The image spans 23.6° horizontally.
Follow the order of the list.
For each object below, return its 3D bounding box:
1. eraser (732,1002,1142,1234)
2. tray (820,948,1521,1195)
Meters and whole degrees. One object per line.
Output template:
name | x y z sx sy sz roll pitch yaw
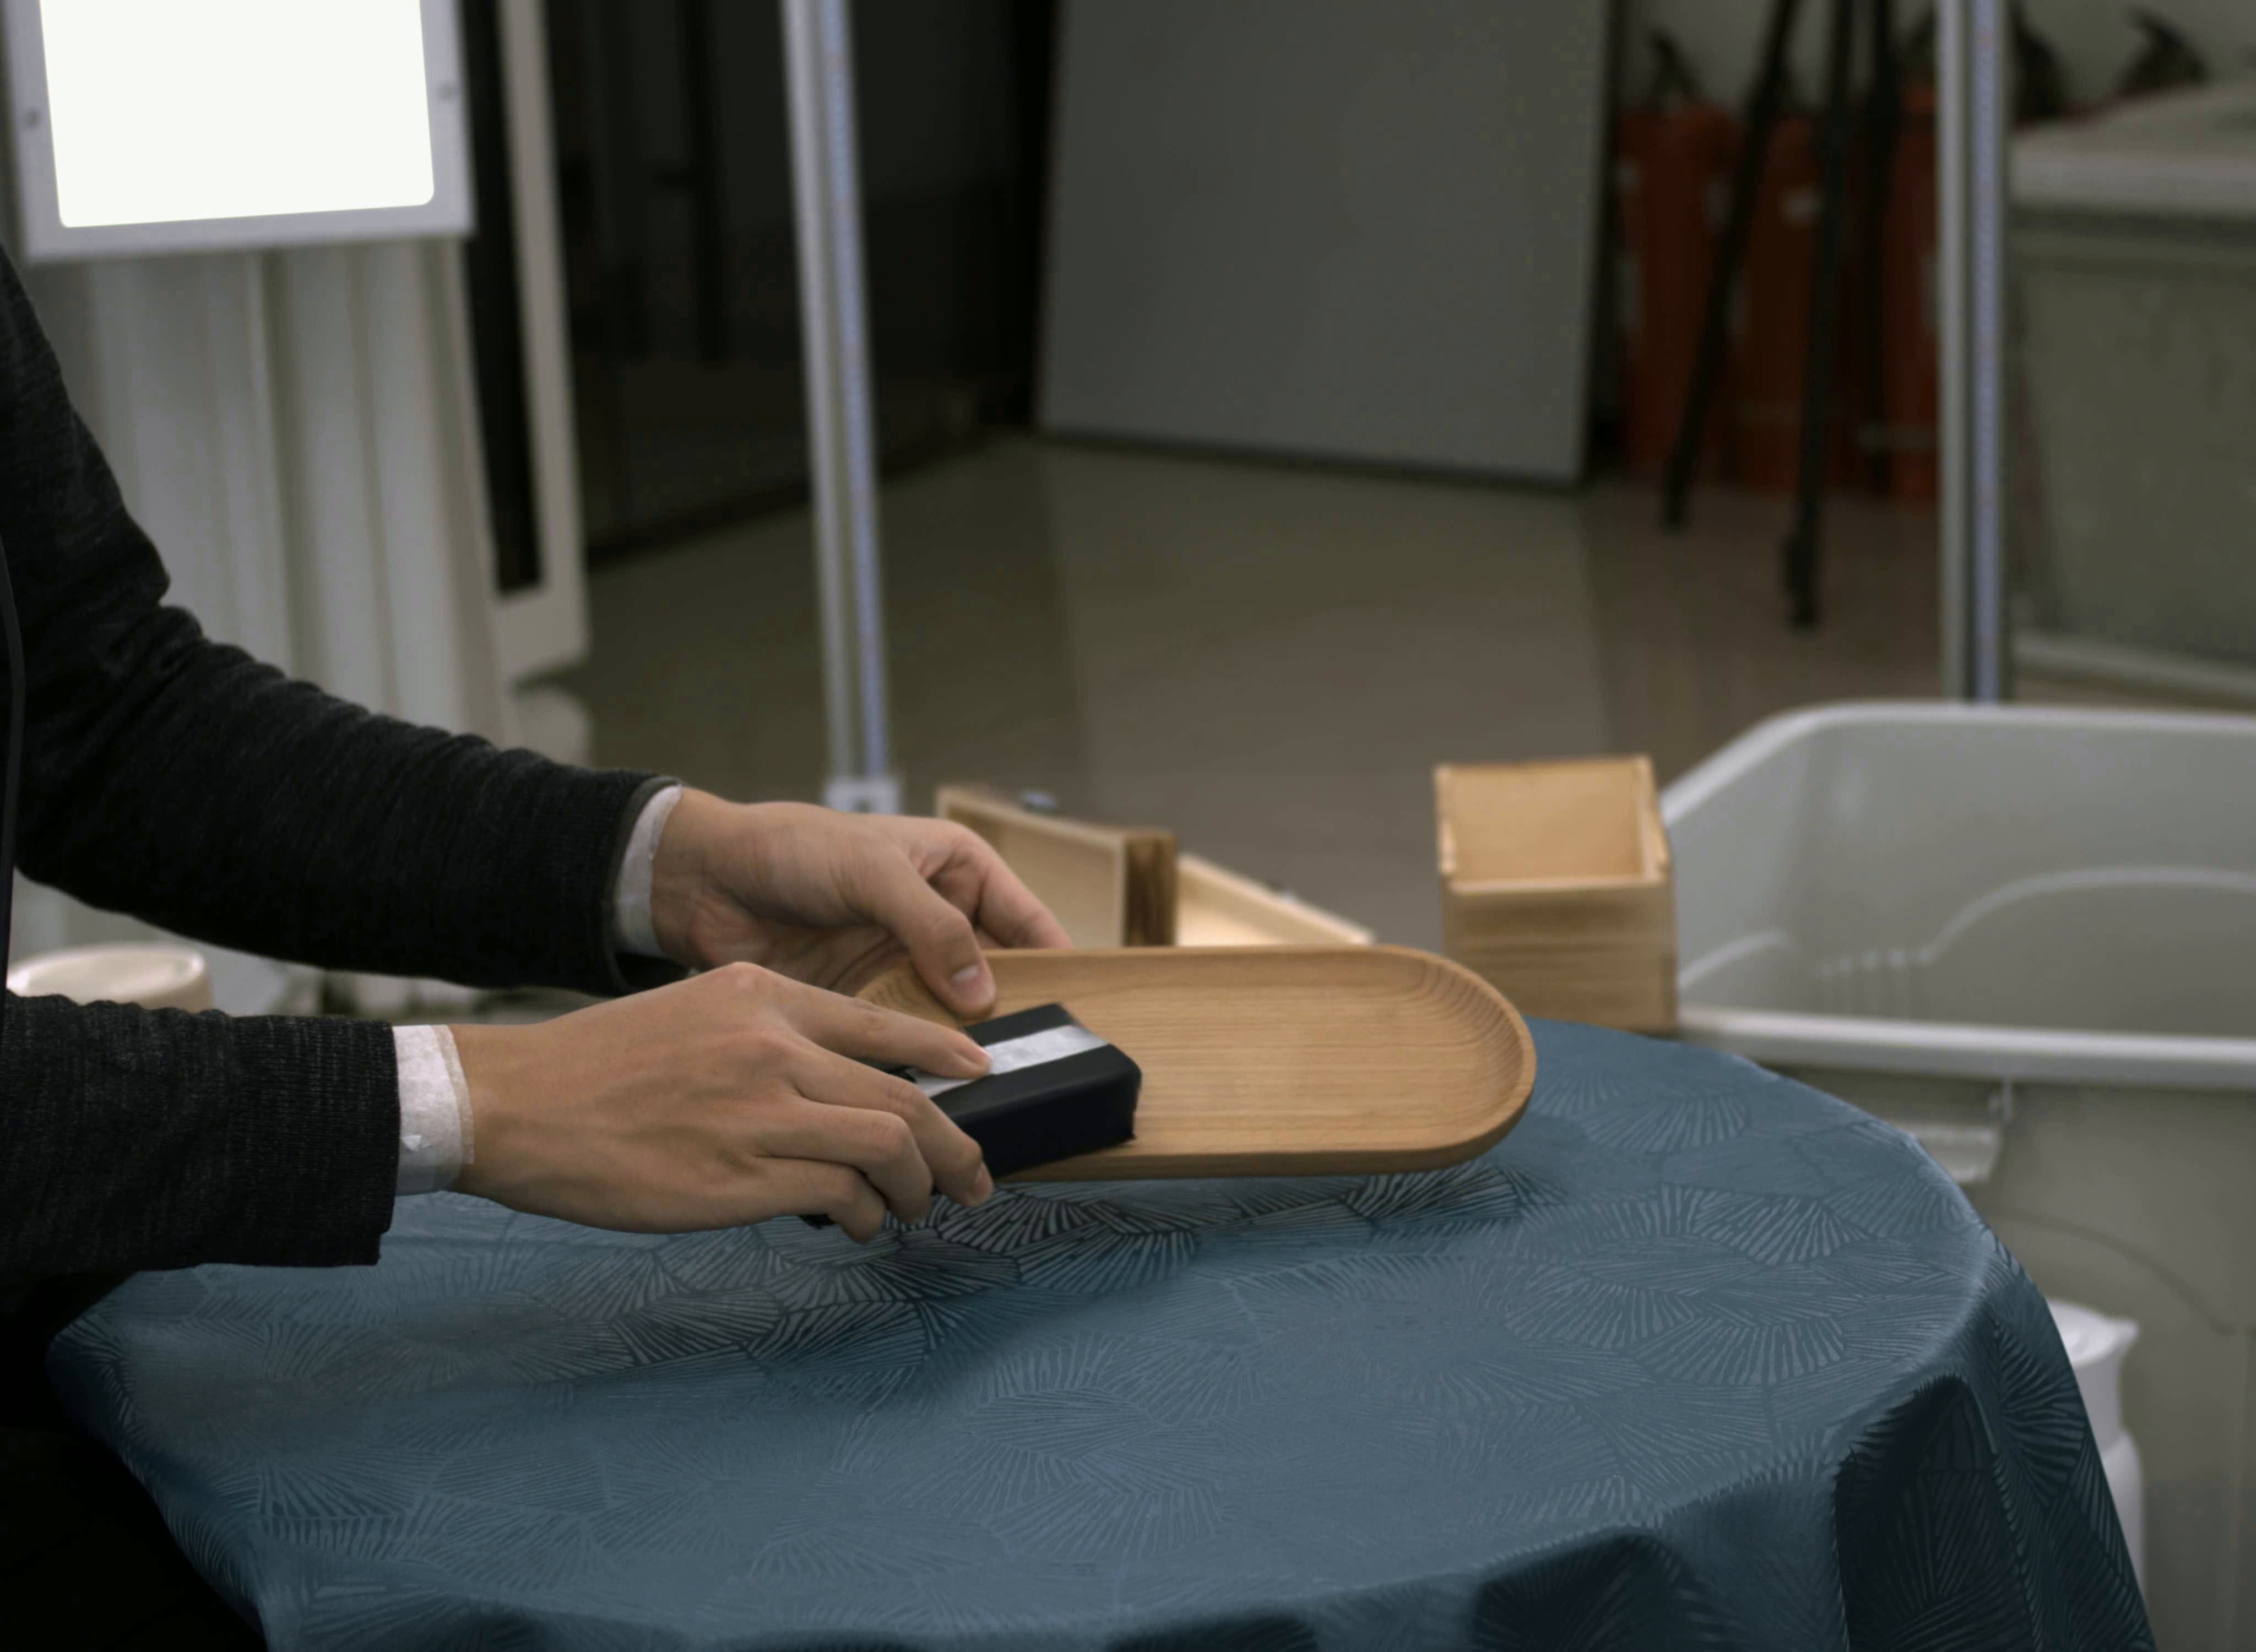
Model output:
eraser | -0.059 0.090 1.689 0.123 0.031 0.054 -16 33 -33
tray | 0.014 0.080 1.744 0.227 0.020 0.102 -3 38 -7
